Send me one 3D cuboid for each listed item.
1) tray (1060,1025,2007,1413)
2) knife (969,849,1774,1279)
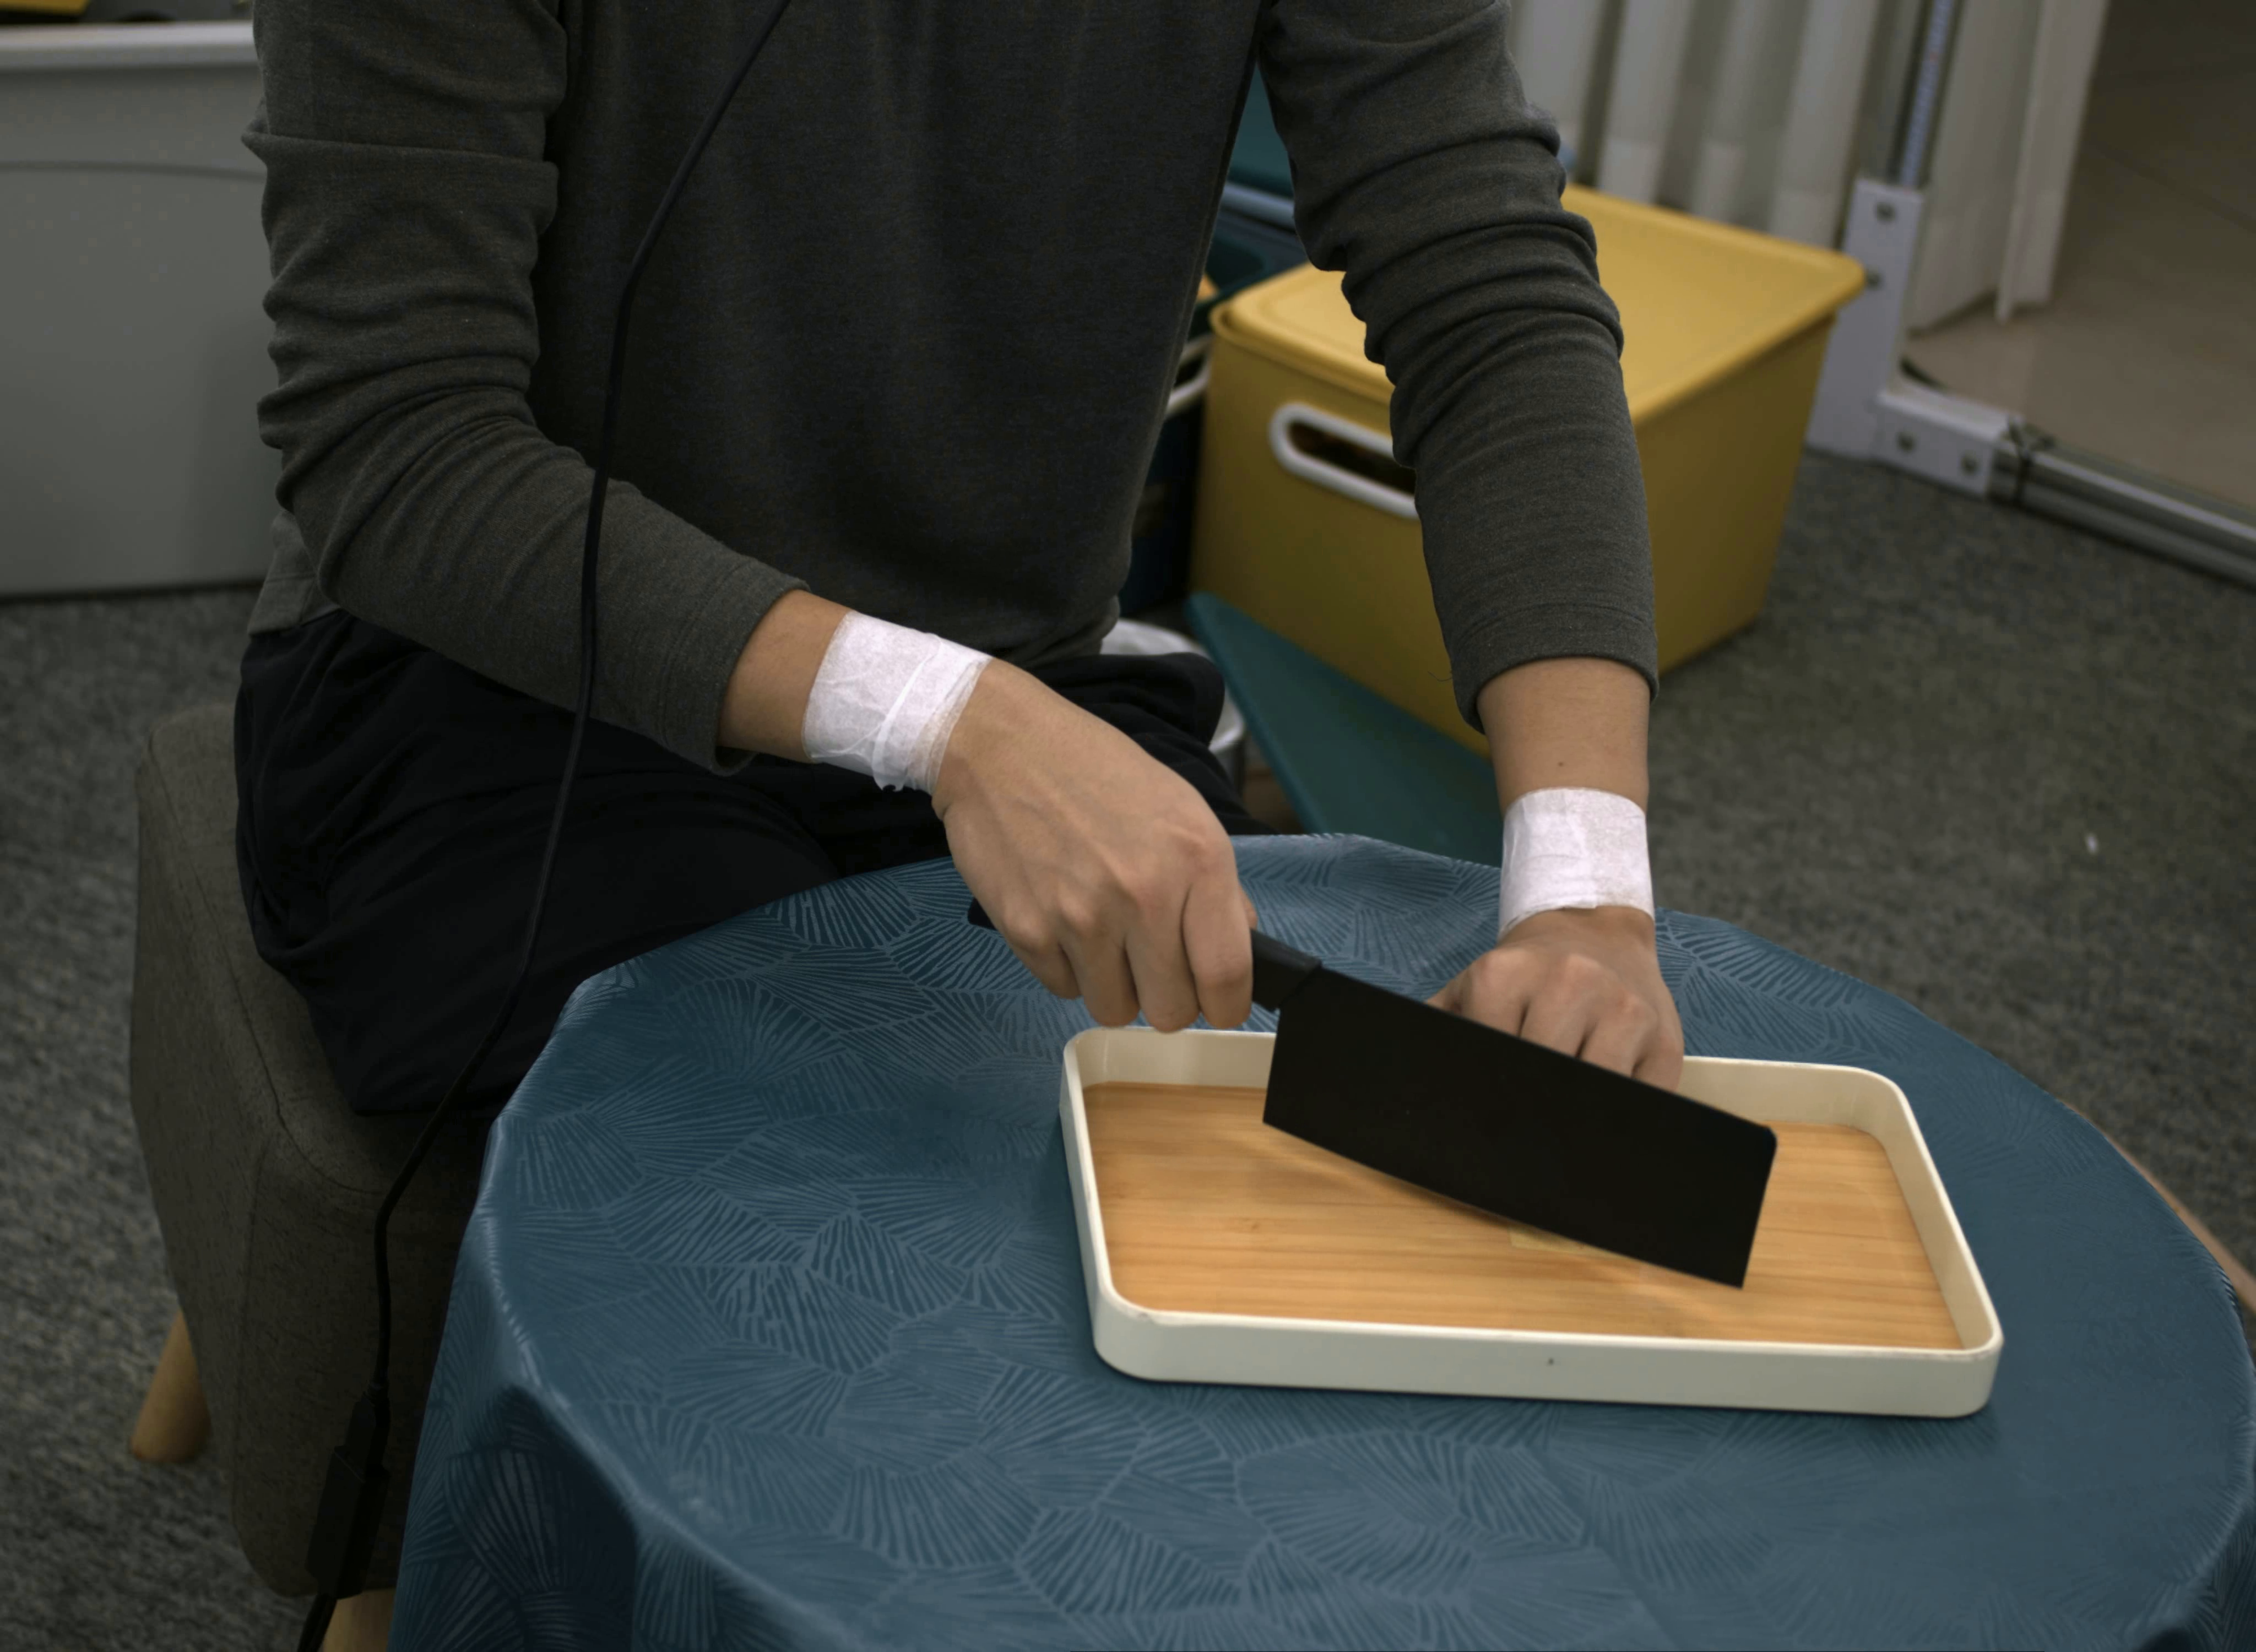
[{"bbox_3d":[0.131,0.131,1.791,0.299,0.027,0.193,3,26,-6],"label":"tray"},{"bbox_3d":[0.078,0.076,1.800,0.303,0.081,0.021,24,26,22],"label":"knife"}]
